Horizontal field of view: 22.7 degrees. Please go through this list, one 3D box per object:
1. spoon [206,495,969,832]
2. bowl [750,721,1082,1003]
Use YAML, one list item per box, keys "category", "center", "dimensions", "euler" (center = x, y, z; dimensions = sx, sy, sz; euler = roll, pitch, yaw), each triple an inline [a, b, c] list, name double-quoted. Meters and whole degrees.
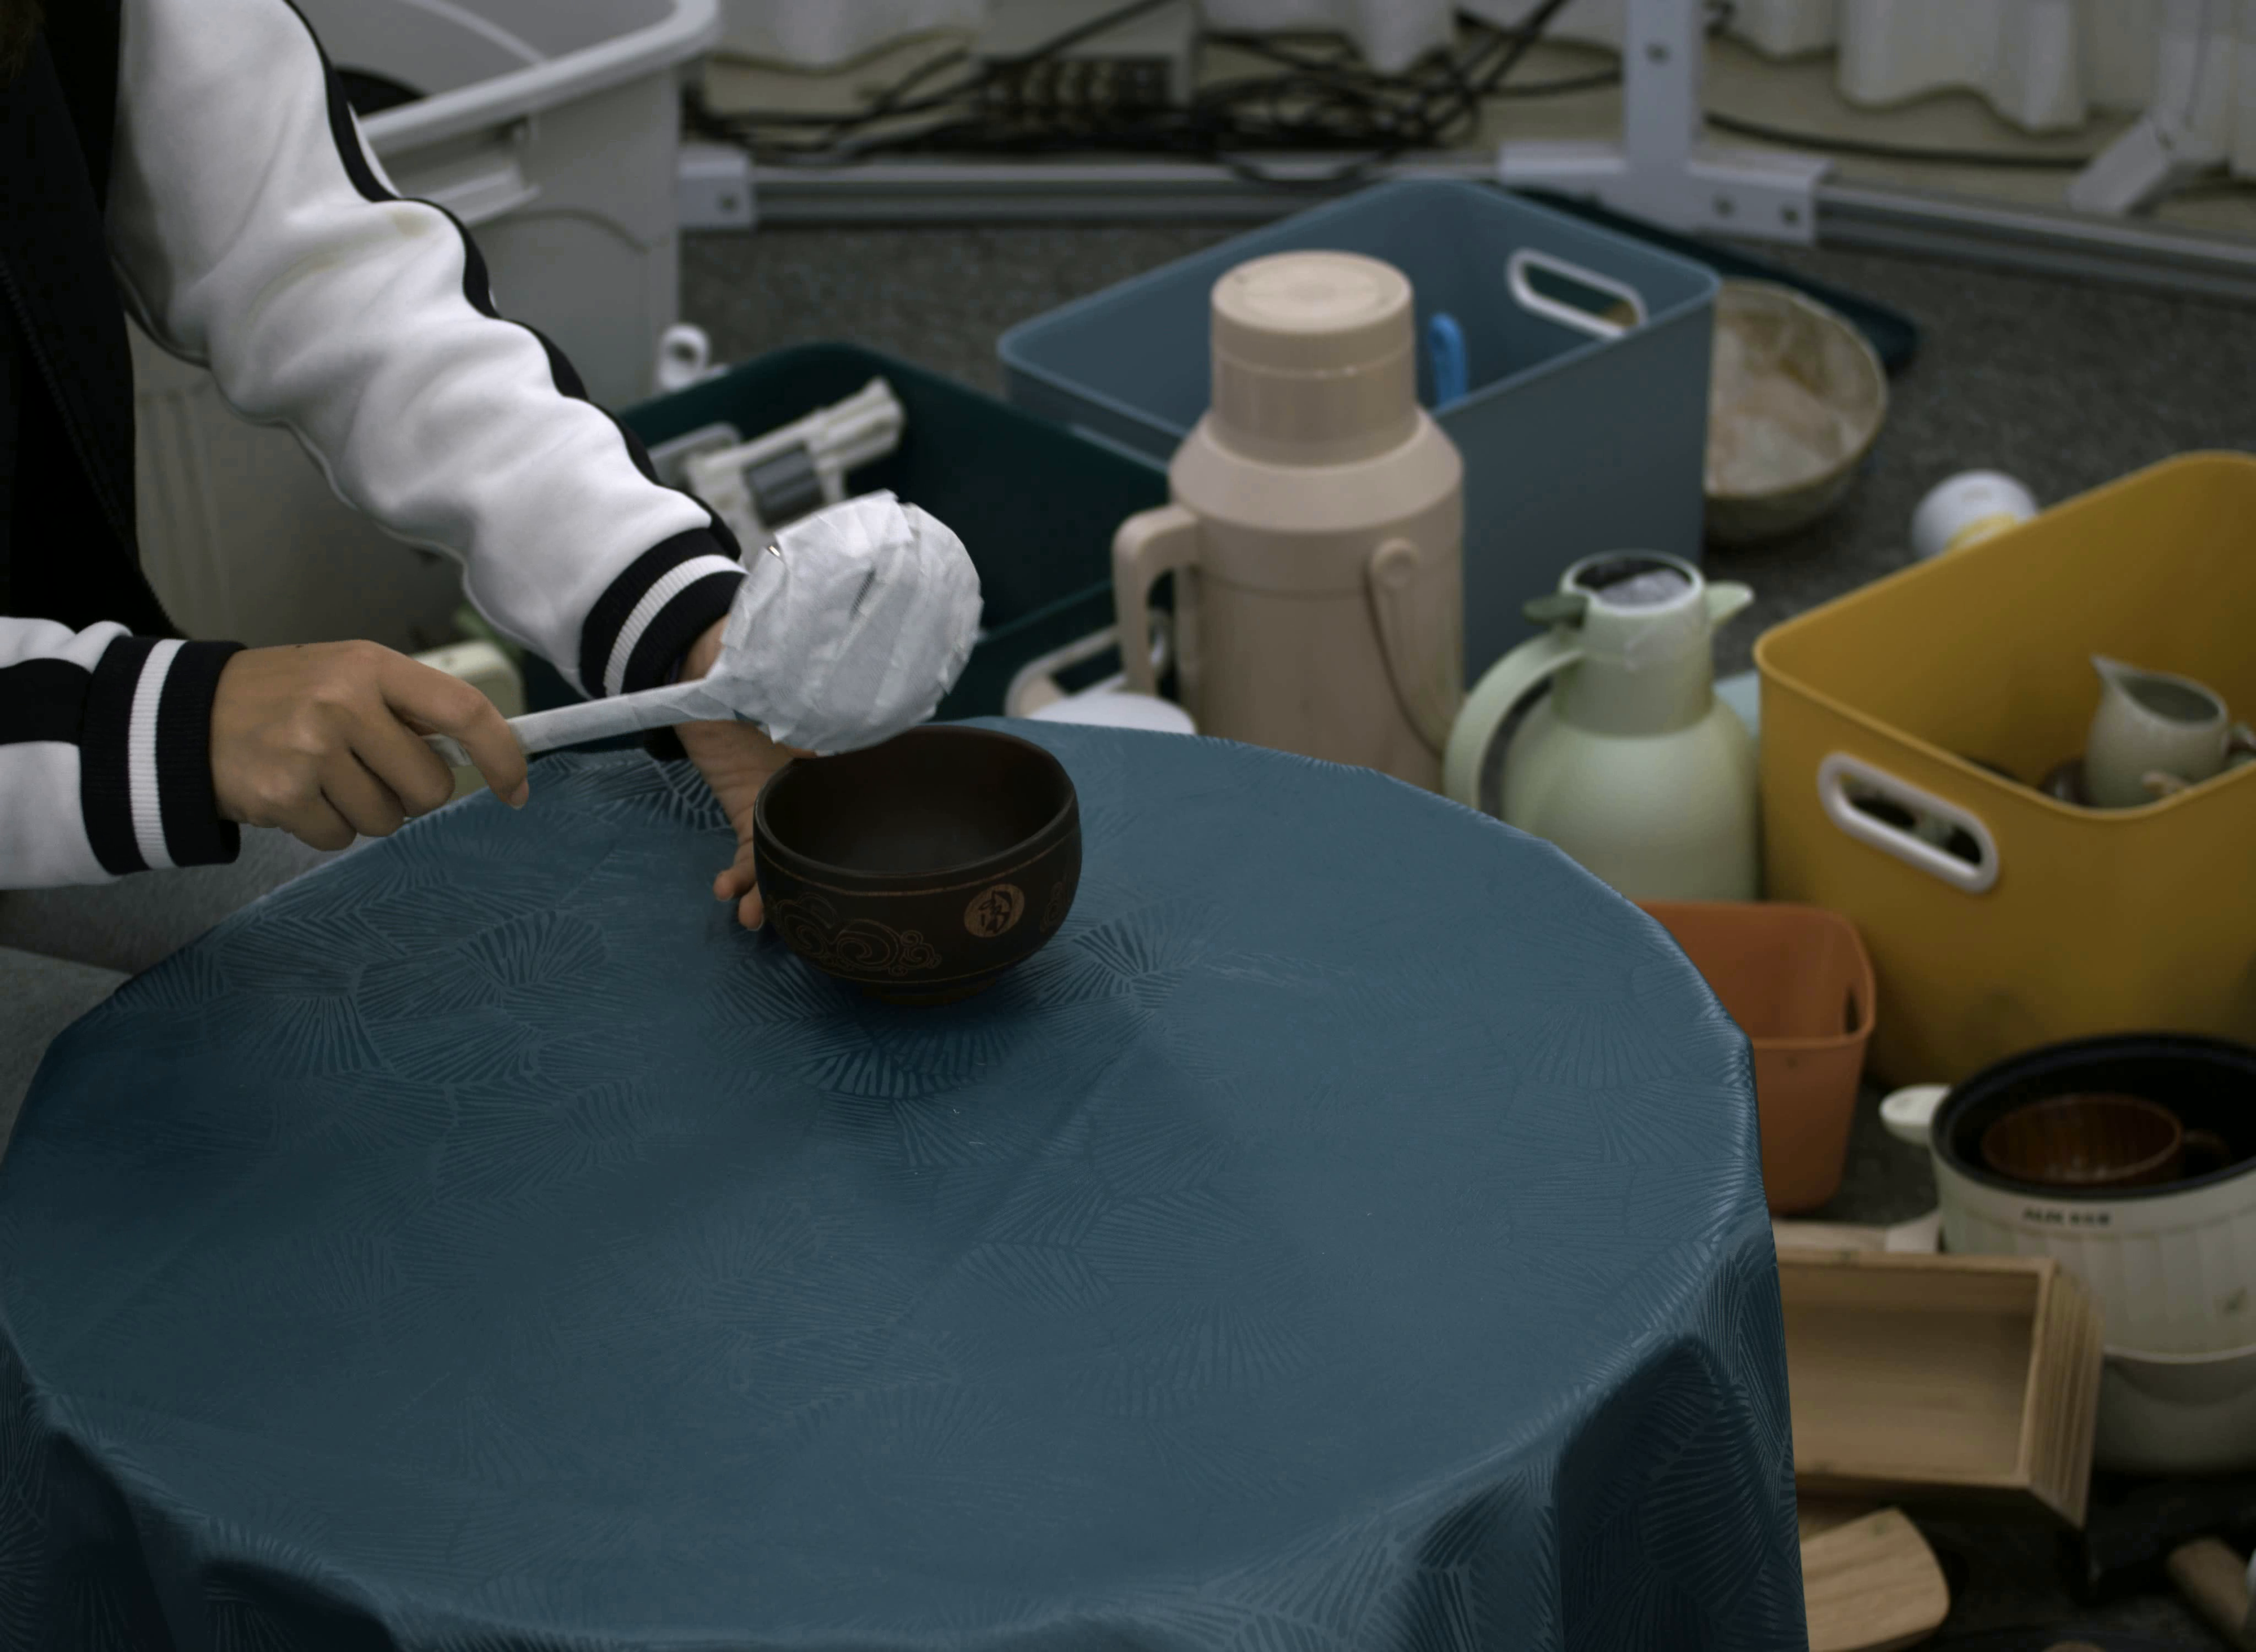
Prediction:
- category: "spoon"
  center: [-0.187, -0.043, 1.930]
  dimensions: [0.274, 0.100, 0.060]
  euler: [-13, 30, 19]
- category: "bowl"
  center: [-0.074, 0.019, 1.988]
  dimensions: [0.117, 0.069, 0.120]
  euler: [-2, 27, 1]
